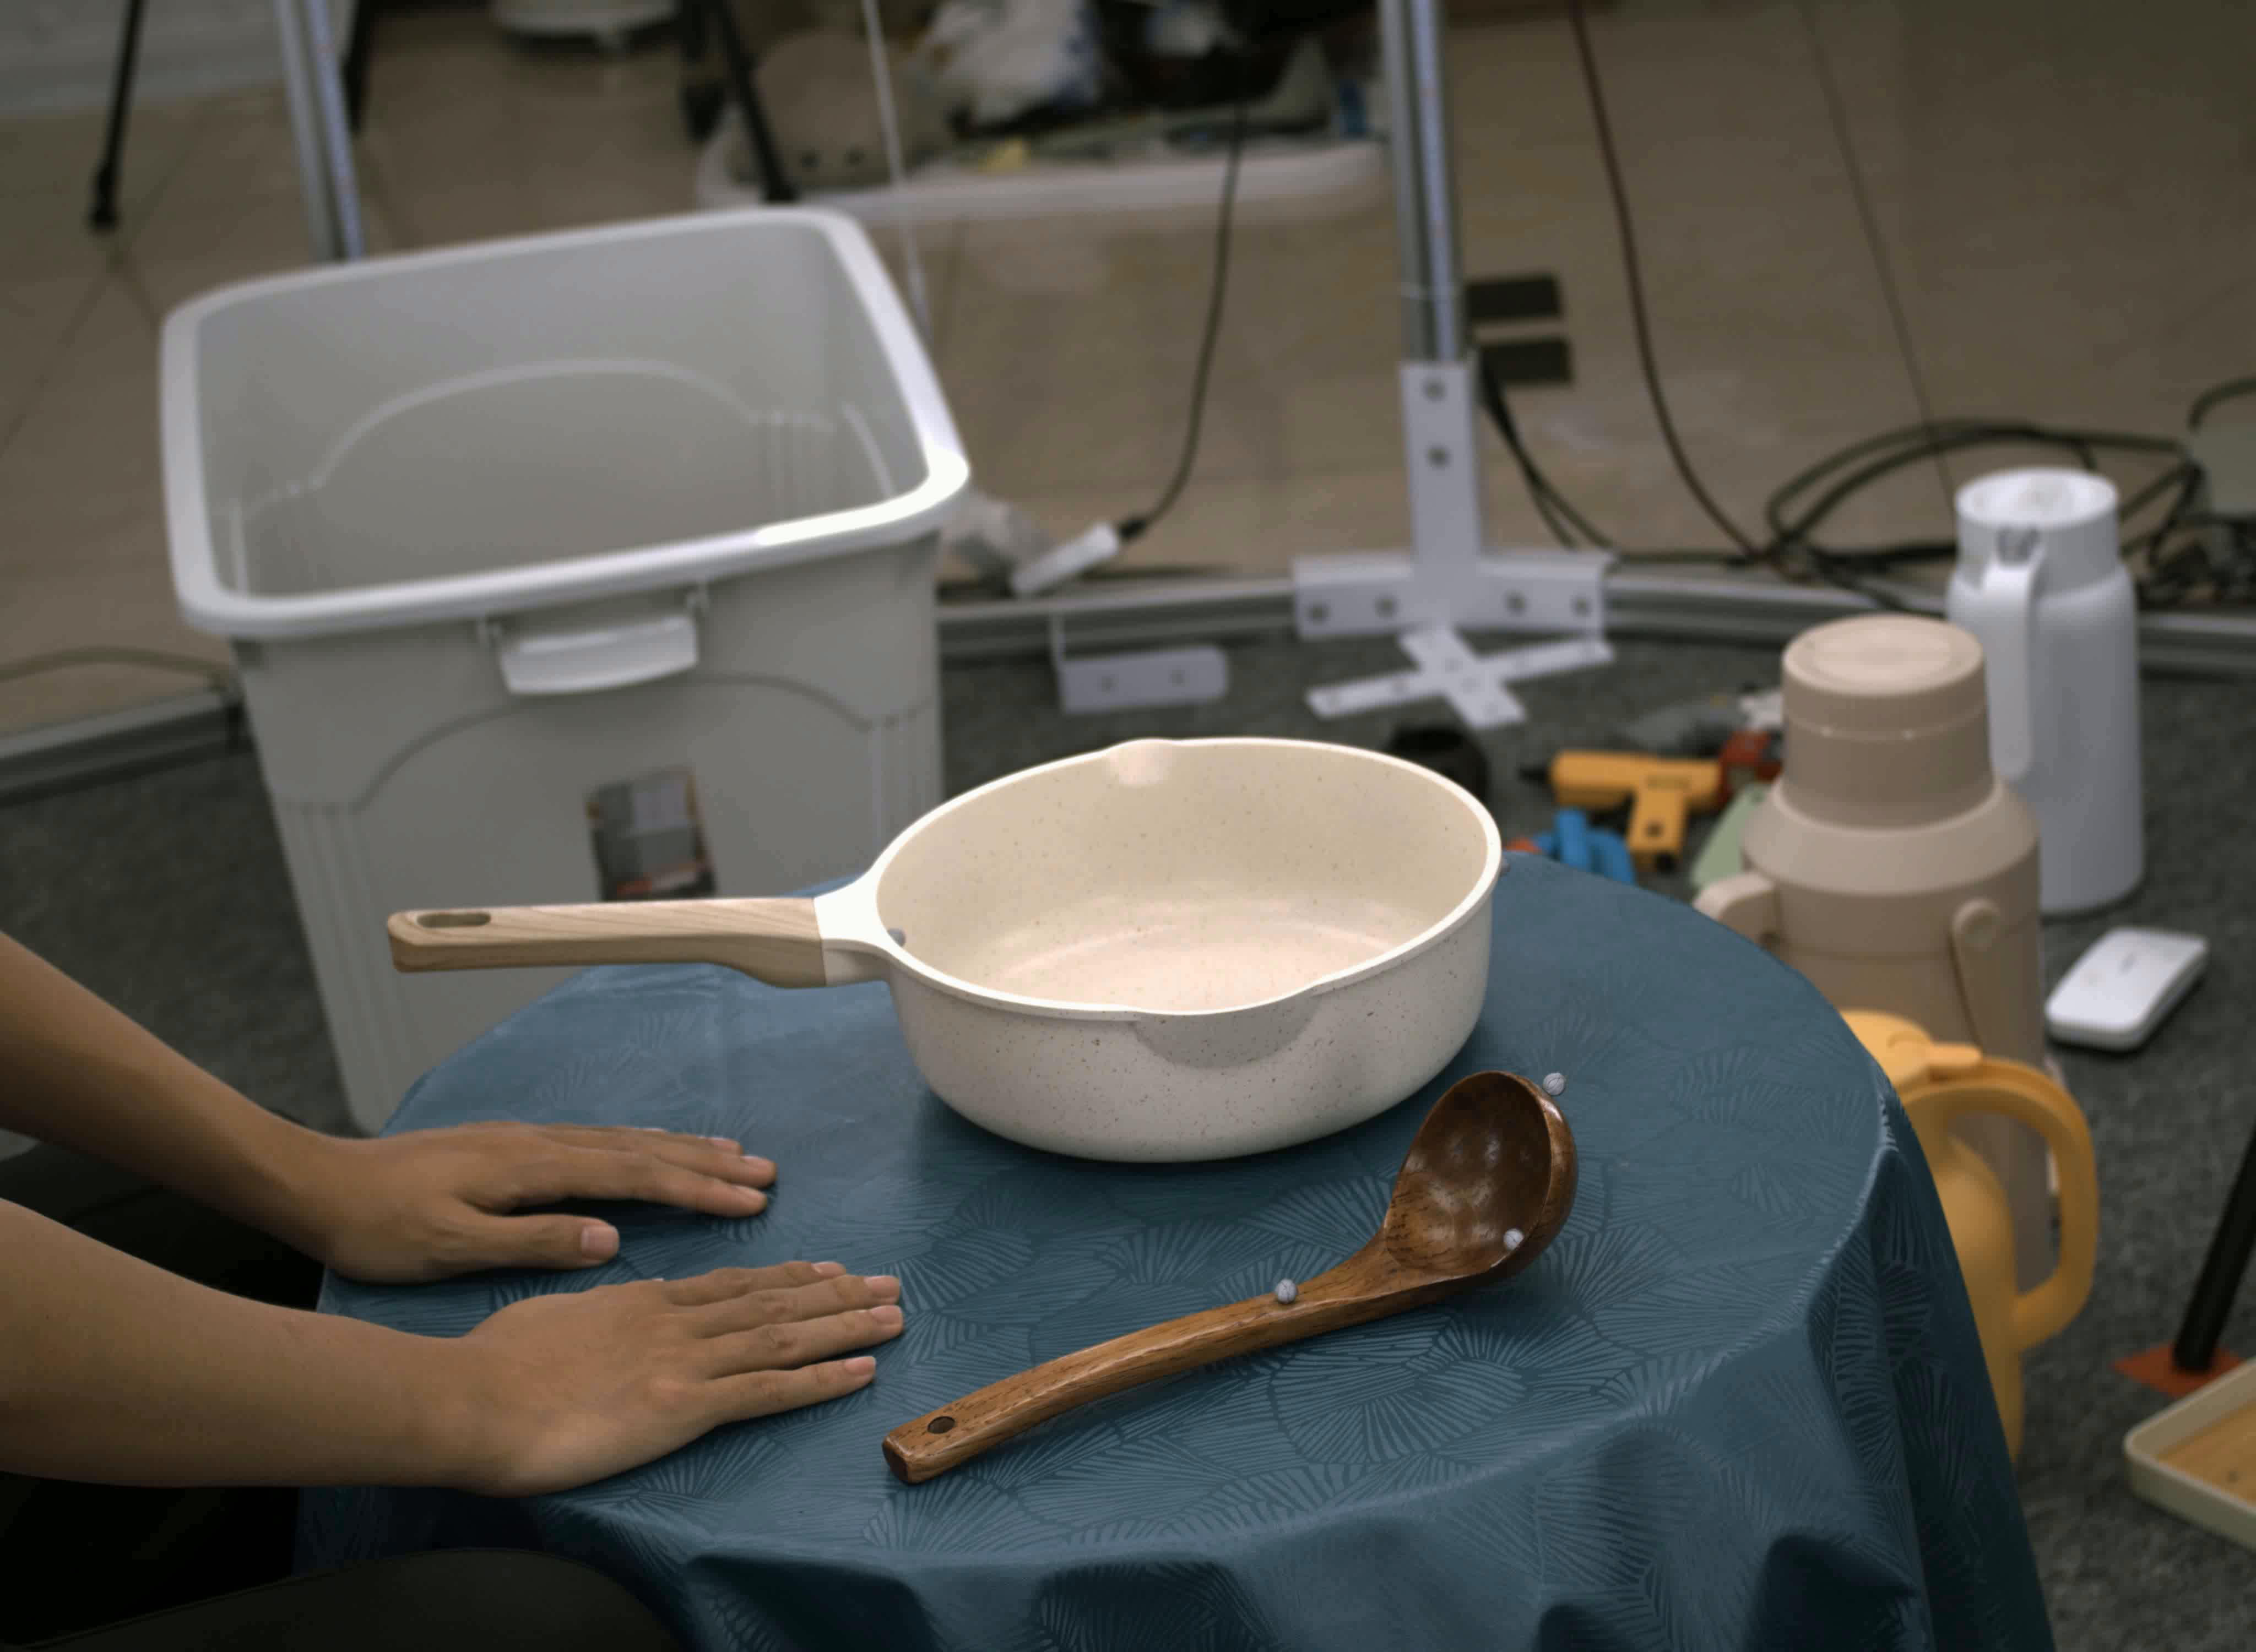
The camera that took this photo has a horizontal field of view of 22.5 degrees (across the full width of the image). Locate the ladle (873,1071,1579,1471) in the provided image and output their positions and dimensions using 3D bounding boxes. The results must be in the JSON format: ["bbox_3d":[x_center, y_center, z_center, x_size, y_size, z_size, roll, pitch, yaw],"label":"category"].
[{"bbox_3d":[0.035,0.156,2.012,0.273,0.078,0.081,-16,28,-20],"label":"ladle"}]

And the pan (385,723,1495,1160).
[{"bbox_3d":[-0.069,0.056,2.229,0.434,0.103,0.259,-9,26,-5],"label":"pan"}]
